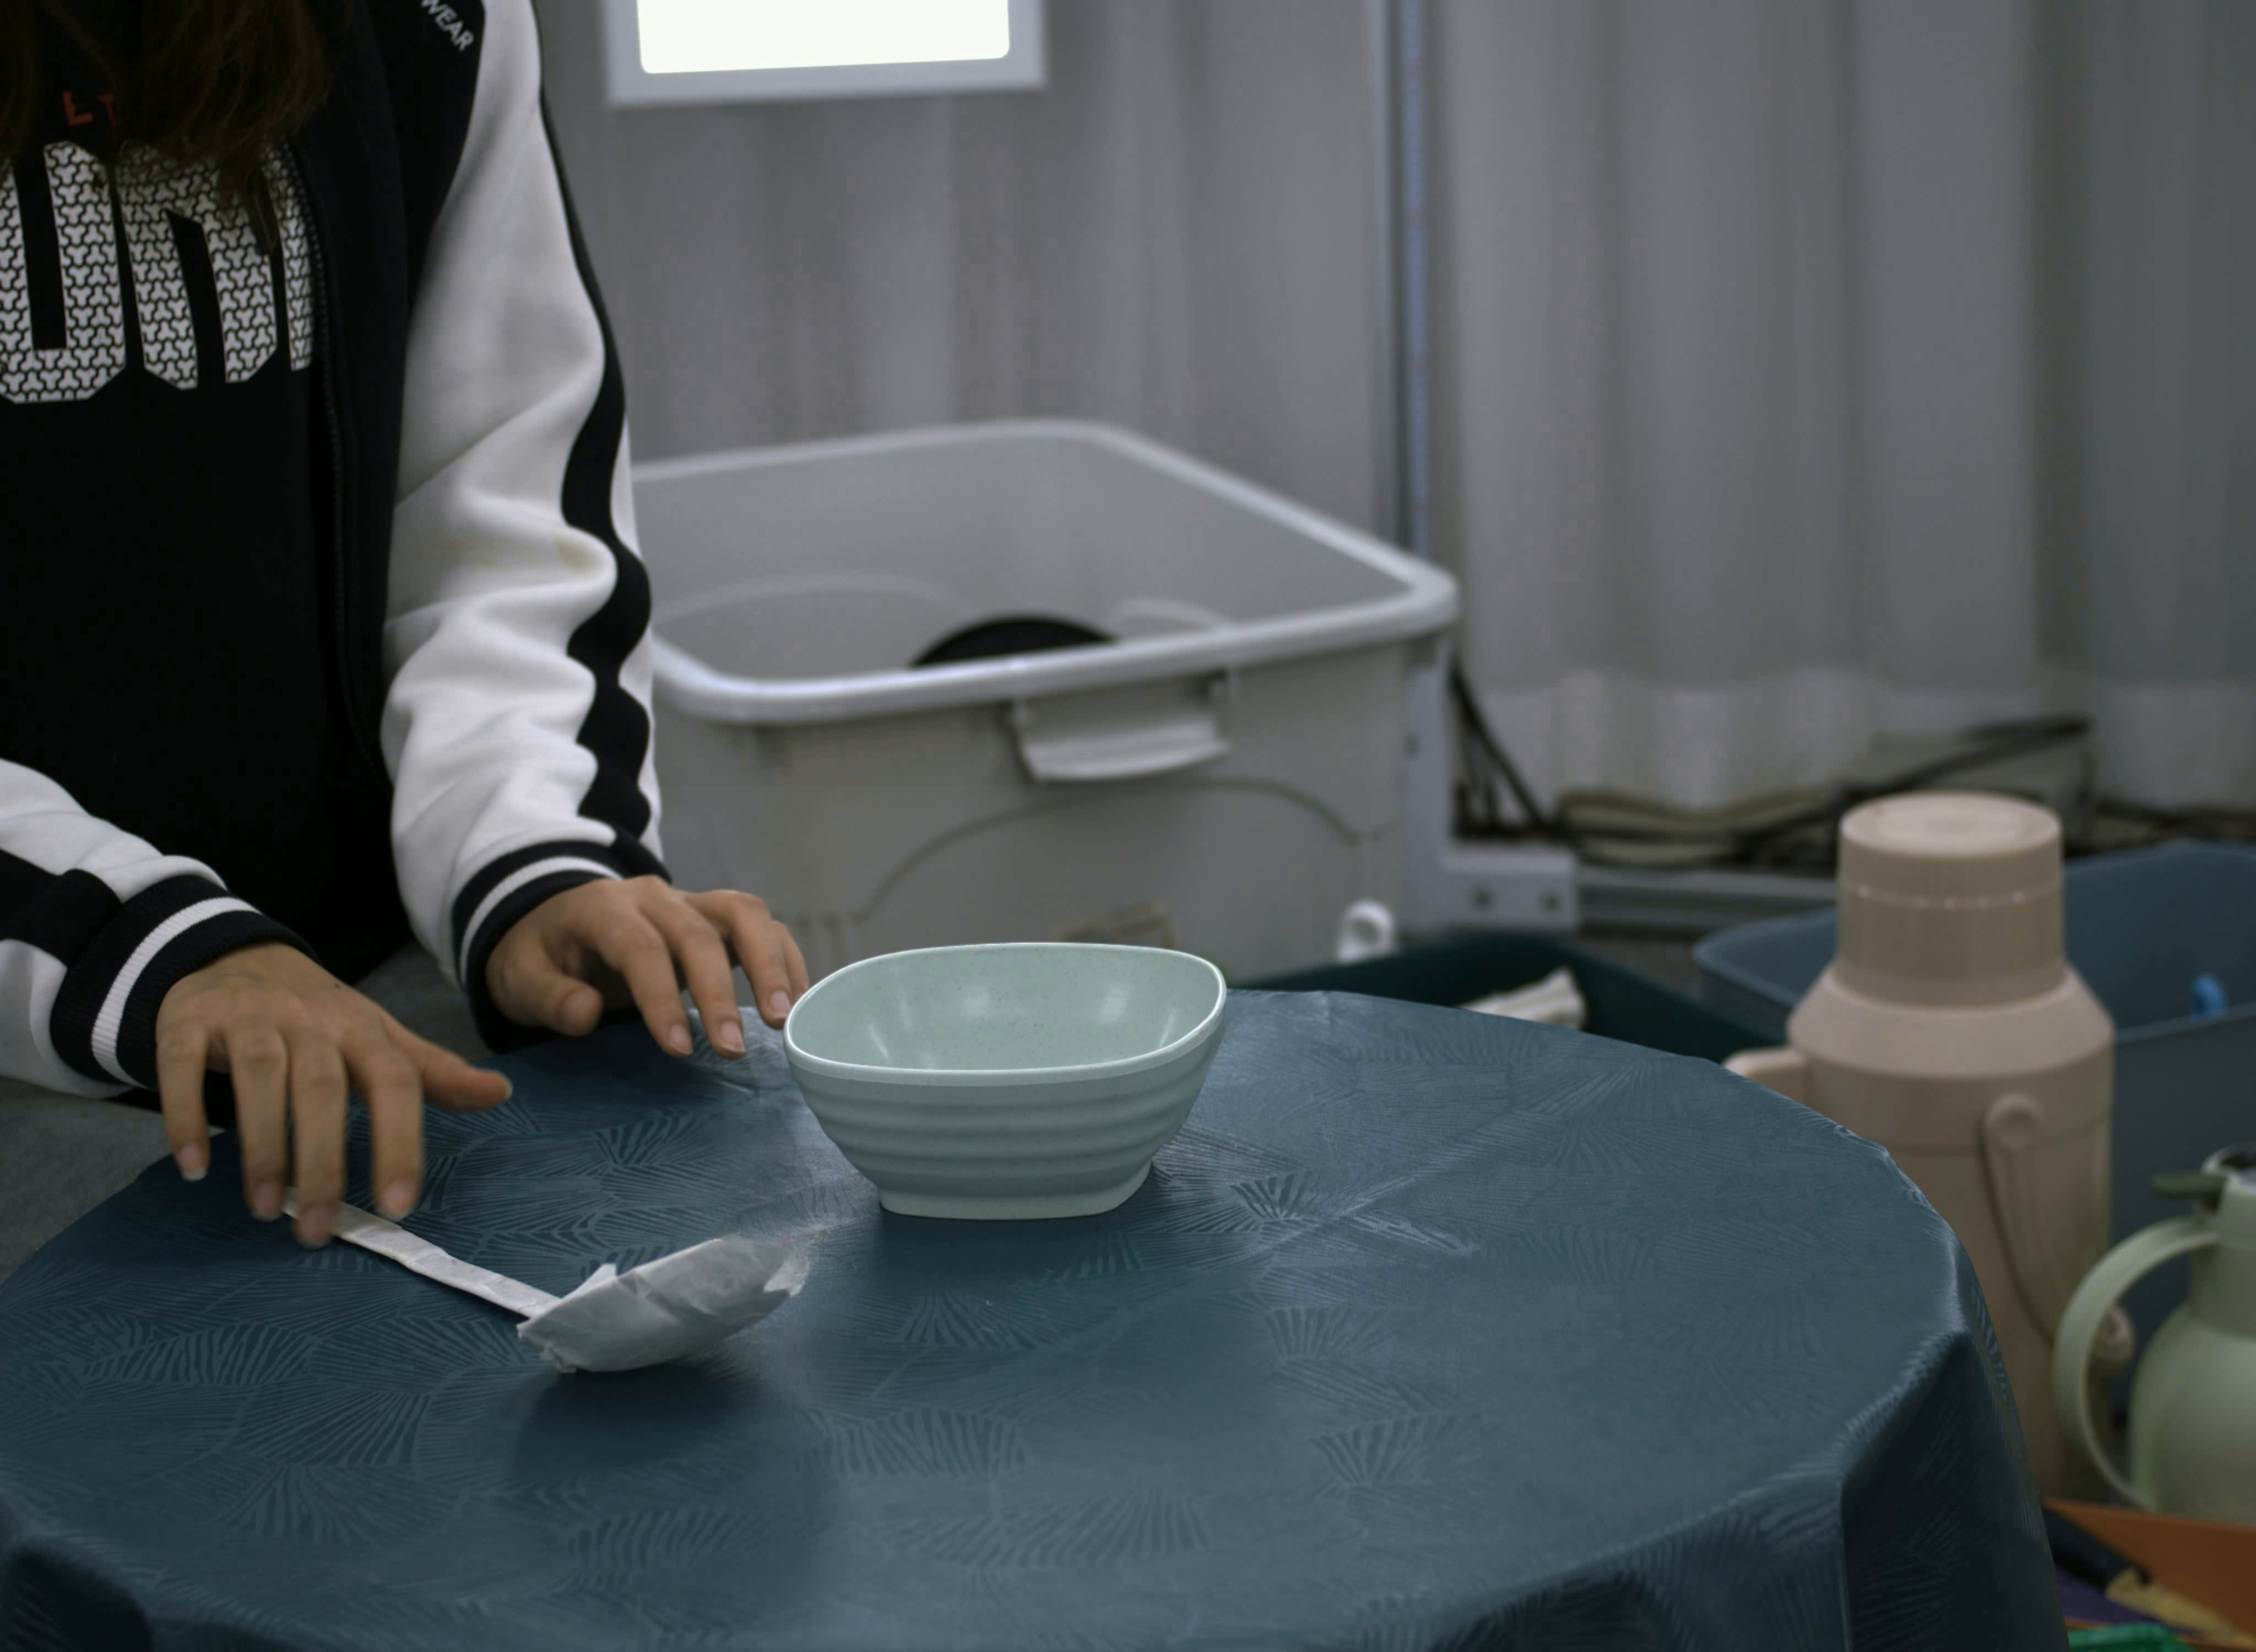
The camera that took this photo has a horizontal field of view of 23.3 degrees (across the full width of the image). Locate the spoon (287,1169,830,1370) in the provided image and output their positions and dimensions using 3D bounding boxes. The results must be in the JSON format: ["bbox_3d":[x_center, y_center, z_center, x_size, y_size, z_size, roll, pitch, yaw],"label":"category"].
[{"bbox_3d":[-0.183,0.113,1.645,0.100,0.059,0.279,-5,14,-34],"label":"spoon"}]

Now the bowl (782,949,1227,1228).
[{"bbox_3d":[-0.037,0.086,1.727,0.151,0.058,0.152,-3,15,0],"label":"bowl"}]
